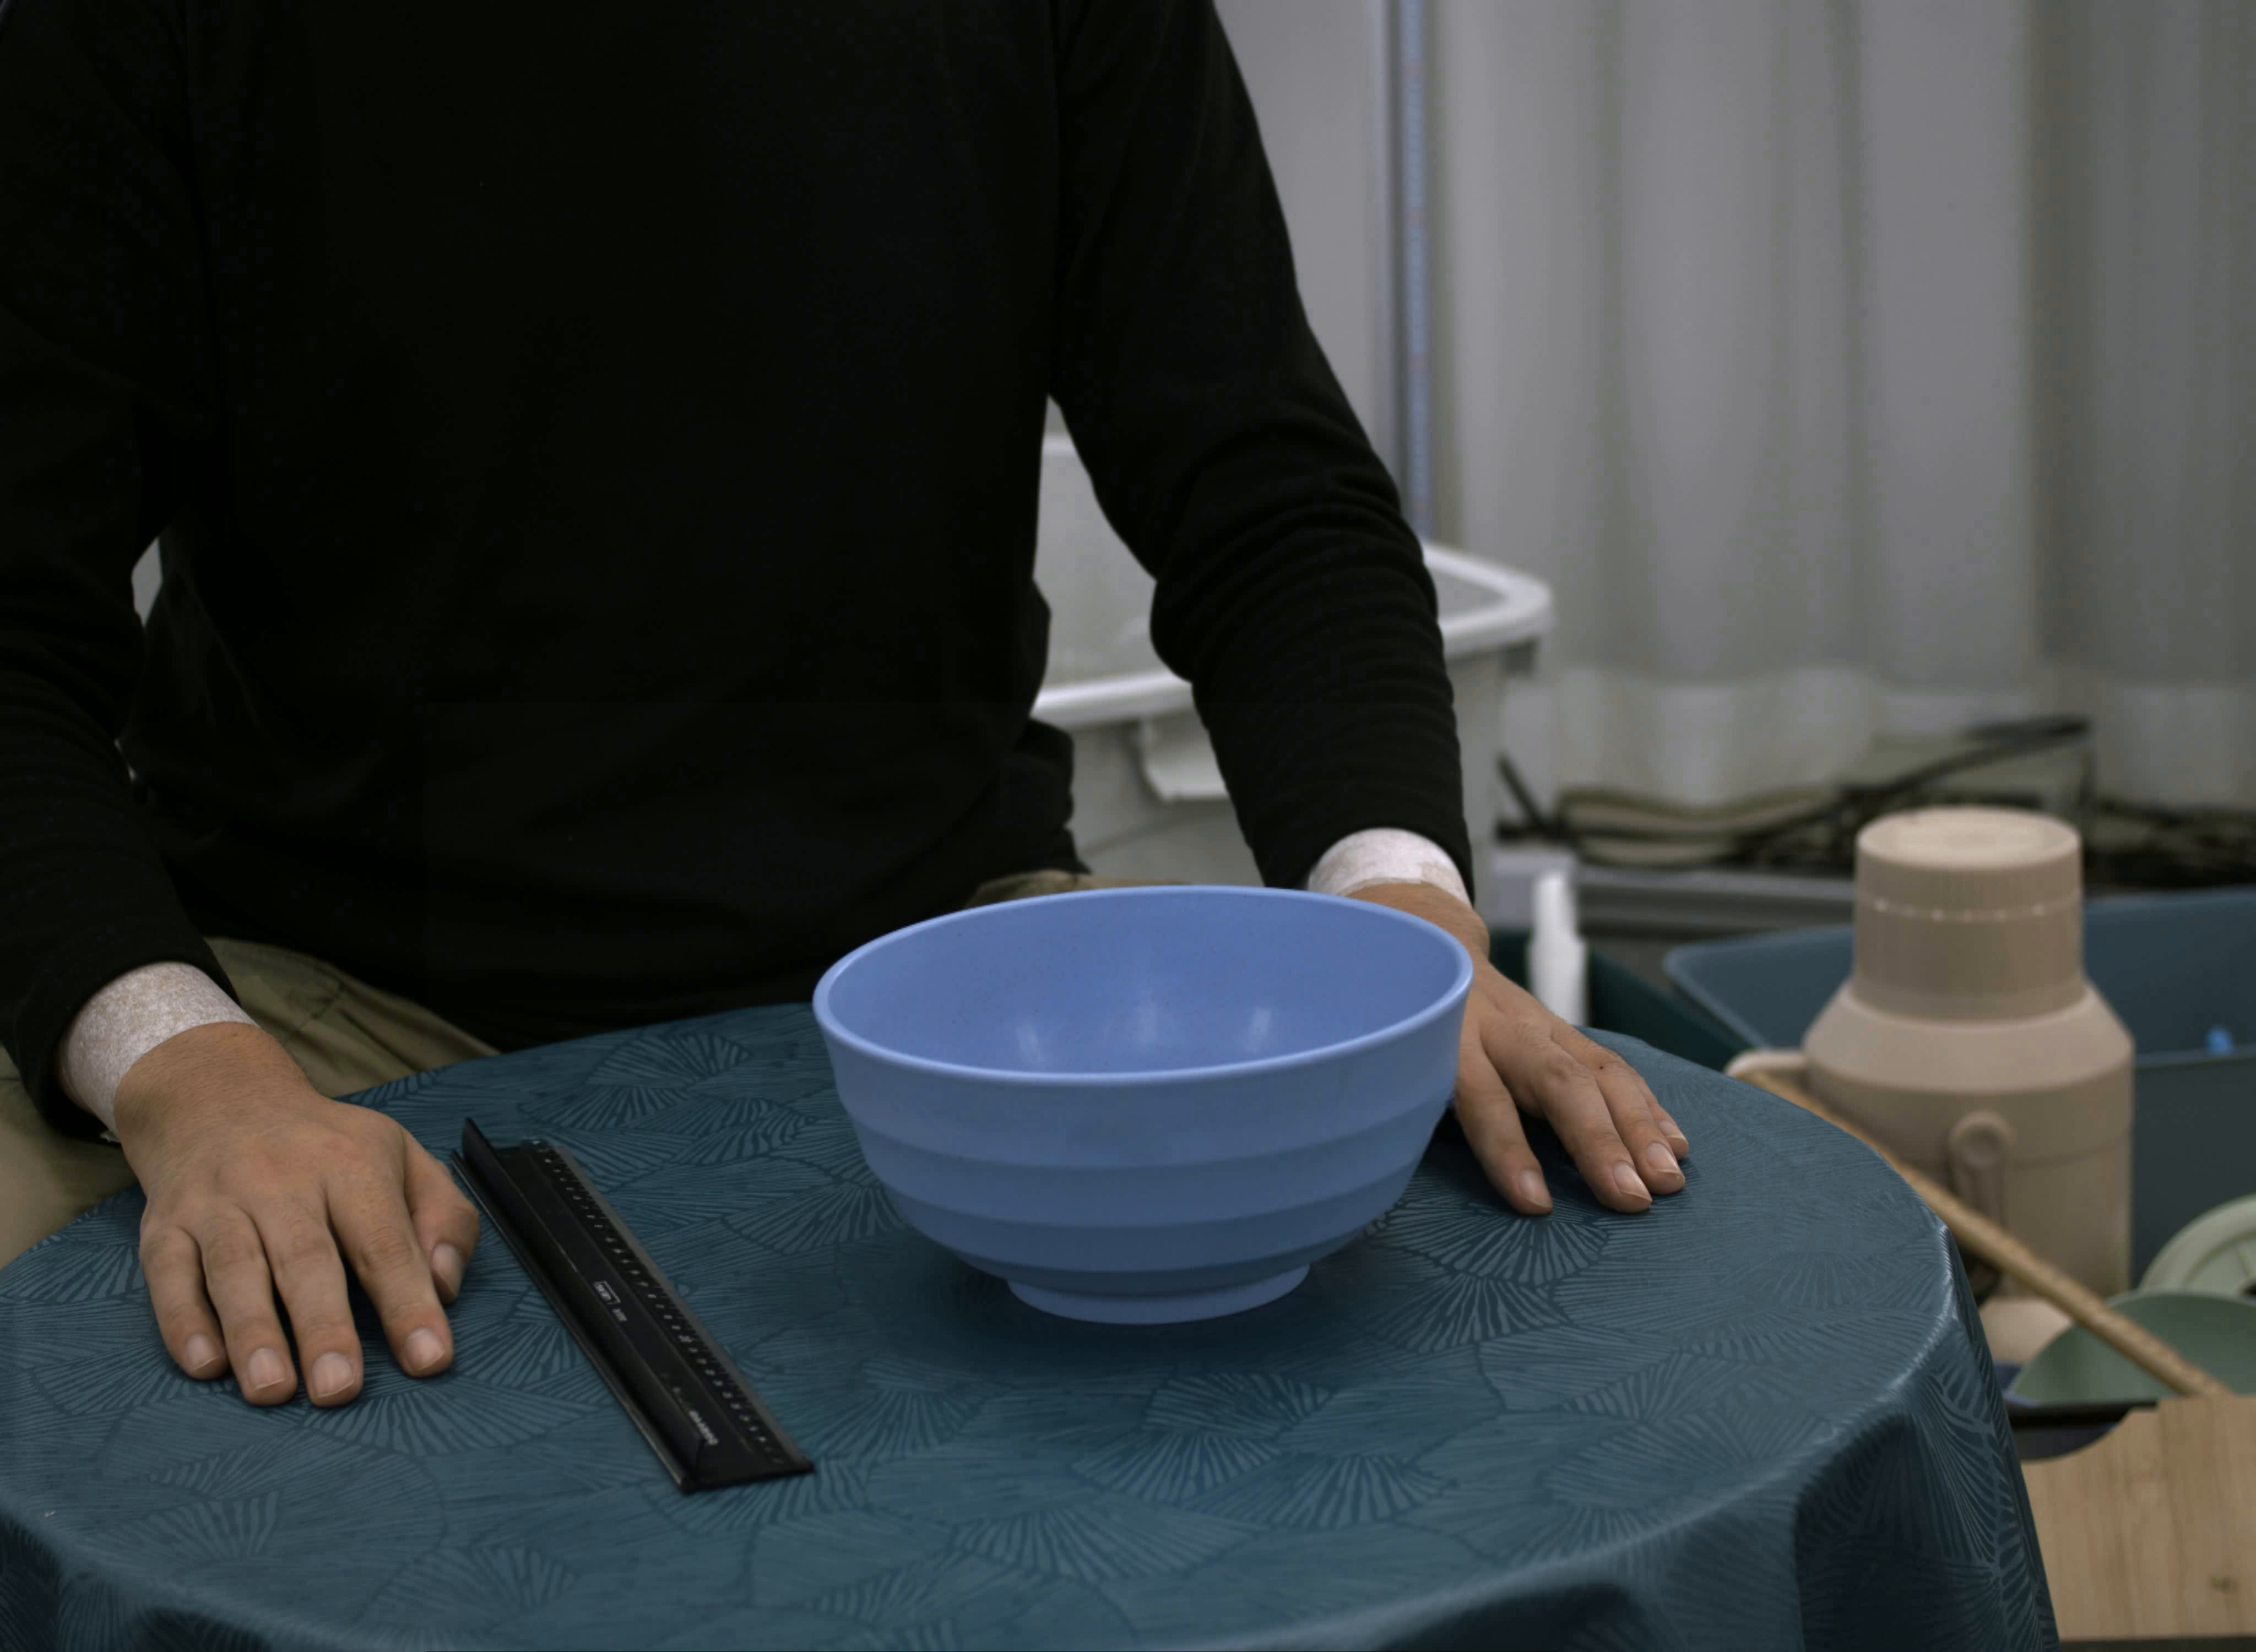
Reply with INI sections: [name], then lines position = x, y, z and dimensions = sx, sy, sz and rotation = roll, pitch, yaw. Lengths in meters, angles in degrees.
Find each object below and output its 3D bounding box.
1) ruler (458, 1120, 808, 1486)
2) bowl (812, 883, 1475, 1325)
[ruler]
position = -0.151, 0.136, 1.631
dimensions = 0.039, 0.017, 0.315
rotation = -1, 13, -18
[bowl]
position = 0.006, 0.088, 1.627
dimensions = 0.196, 0.095, 0.198
rotation = -2, 15, 0
